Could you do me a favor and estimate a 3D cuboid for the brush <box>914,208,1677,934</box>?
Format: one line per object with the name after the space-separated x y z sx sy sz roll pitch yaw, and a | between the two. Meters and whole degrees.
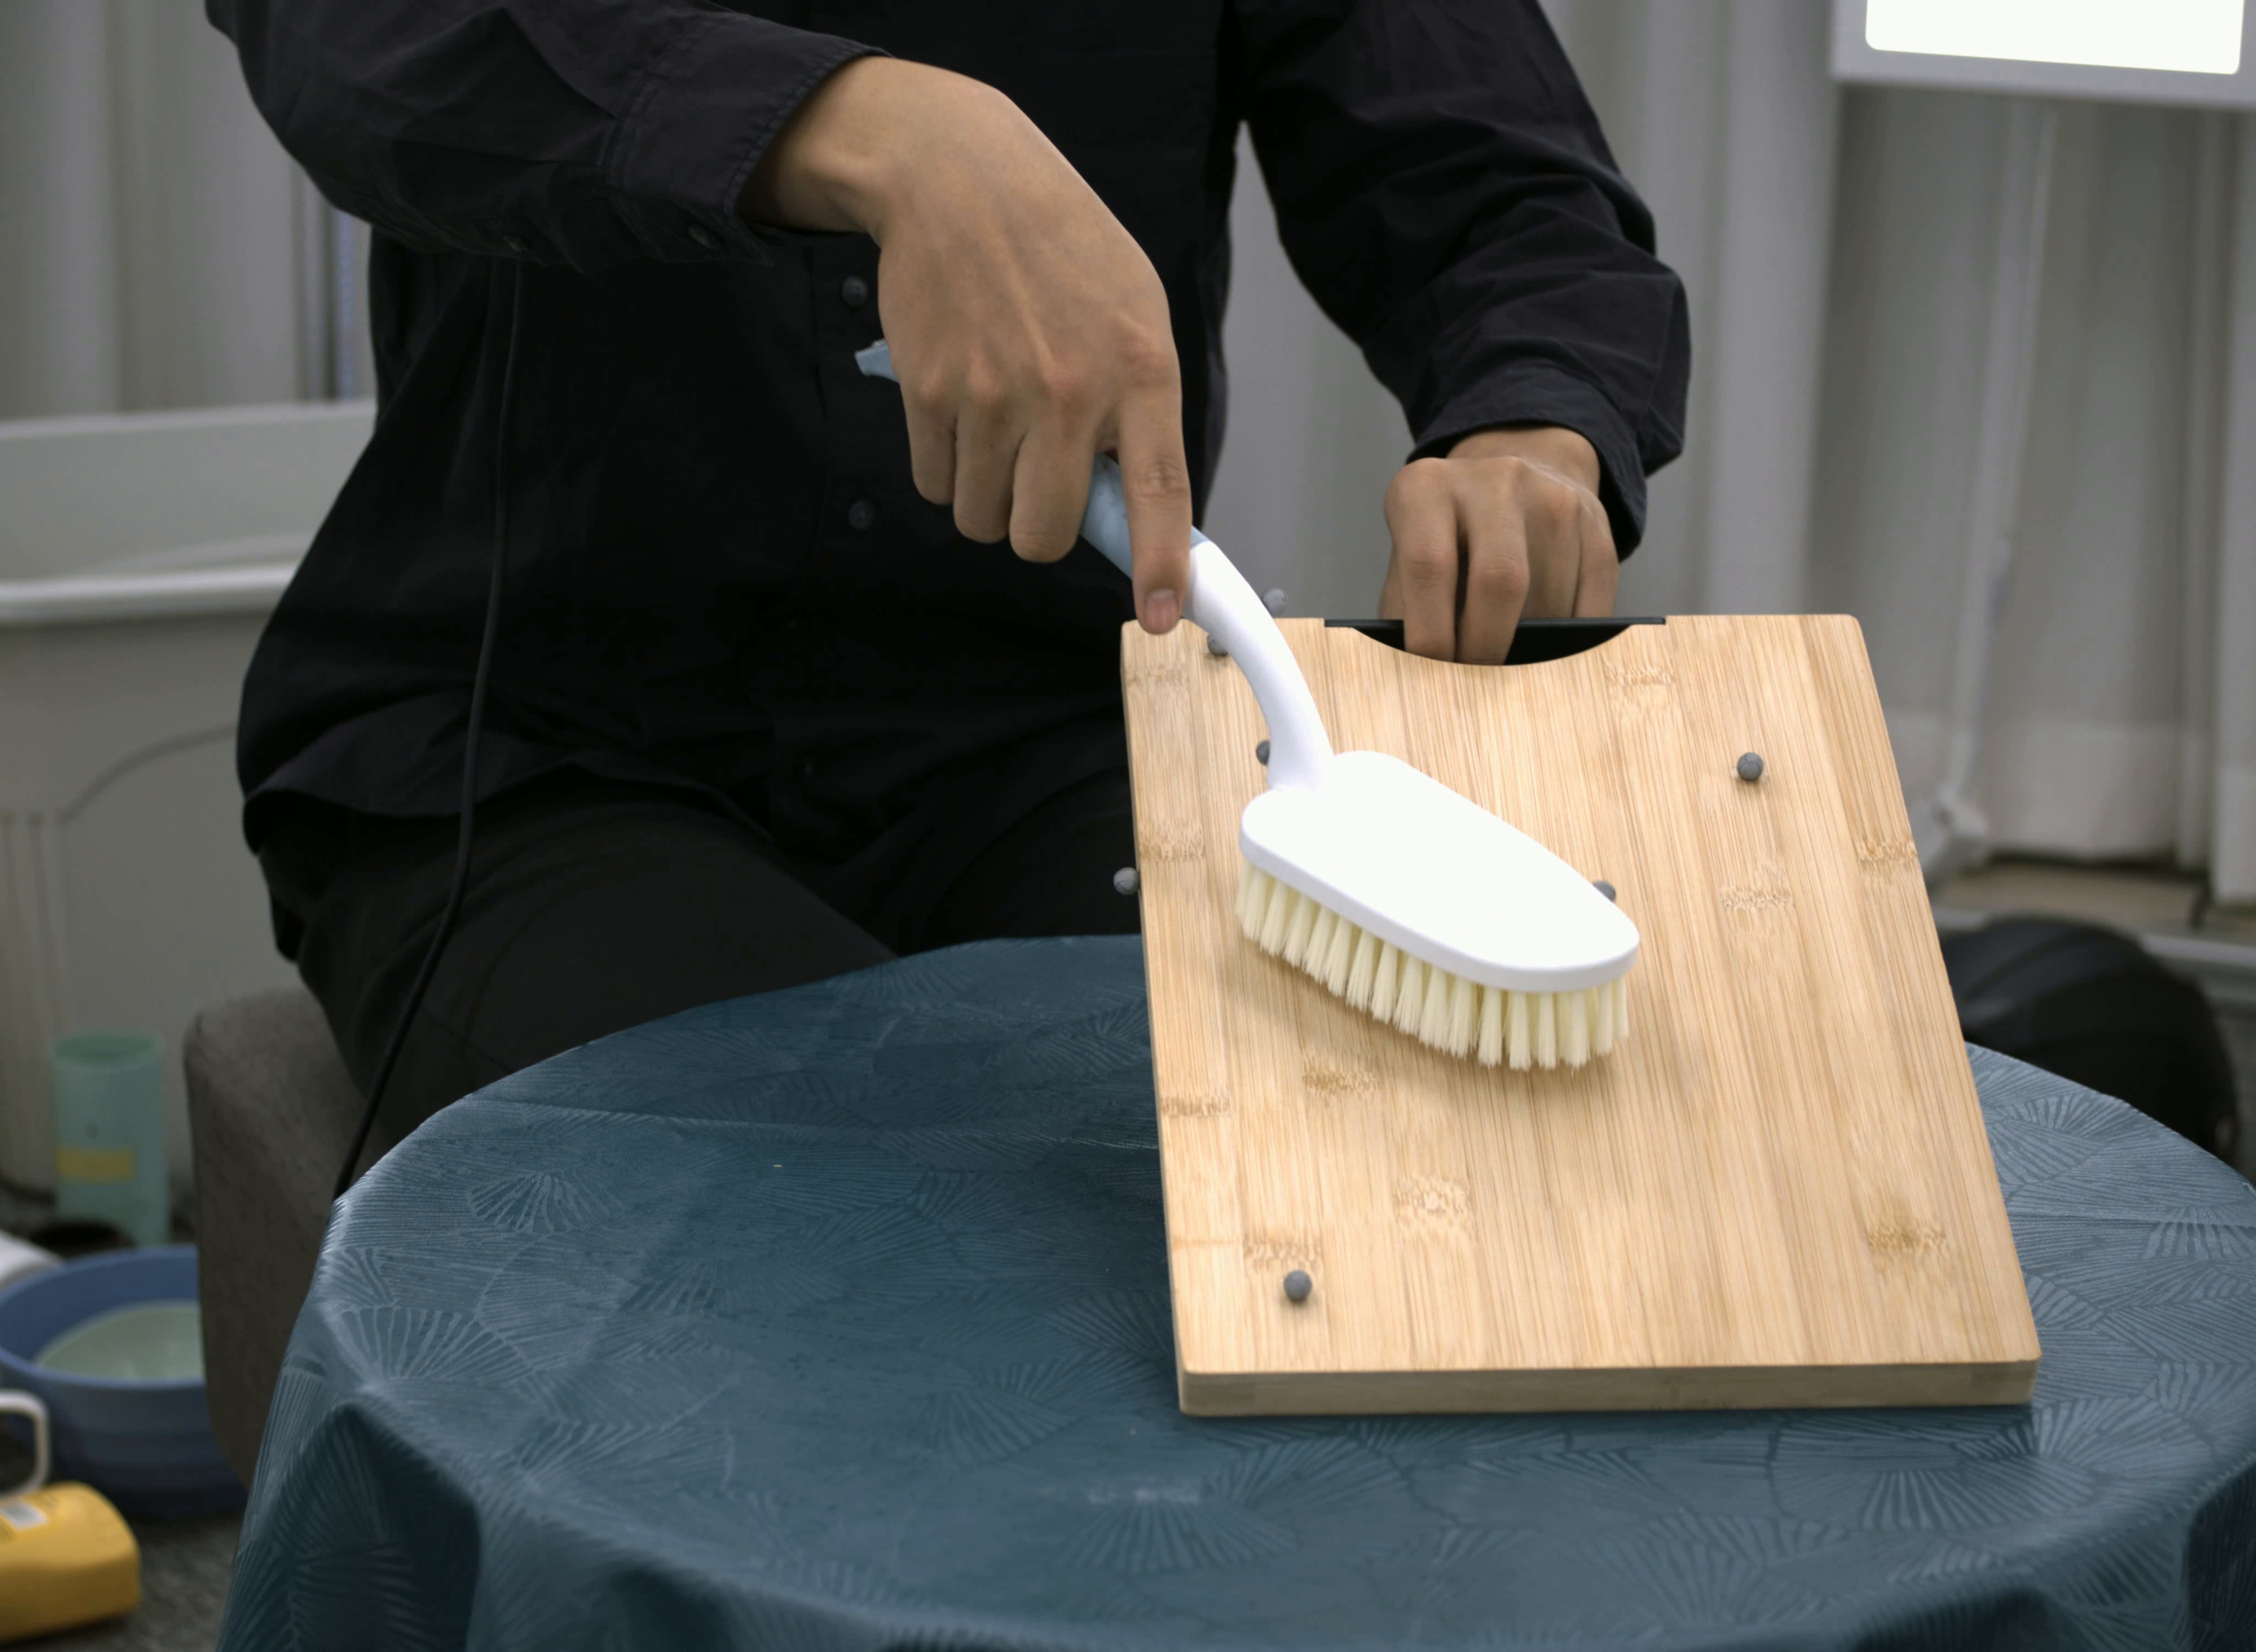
0.044 -0.070 1.624 0.322 0.084 0.084 42 8 22 | brush

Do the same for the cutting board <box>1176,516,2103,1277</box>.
0.146 0.014 1.613 0.250 0.024 0.345 -1 40 -6 | cutting board
